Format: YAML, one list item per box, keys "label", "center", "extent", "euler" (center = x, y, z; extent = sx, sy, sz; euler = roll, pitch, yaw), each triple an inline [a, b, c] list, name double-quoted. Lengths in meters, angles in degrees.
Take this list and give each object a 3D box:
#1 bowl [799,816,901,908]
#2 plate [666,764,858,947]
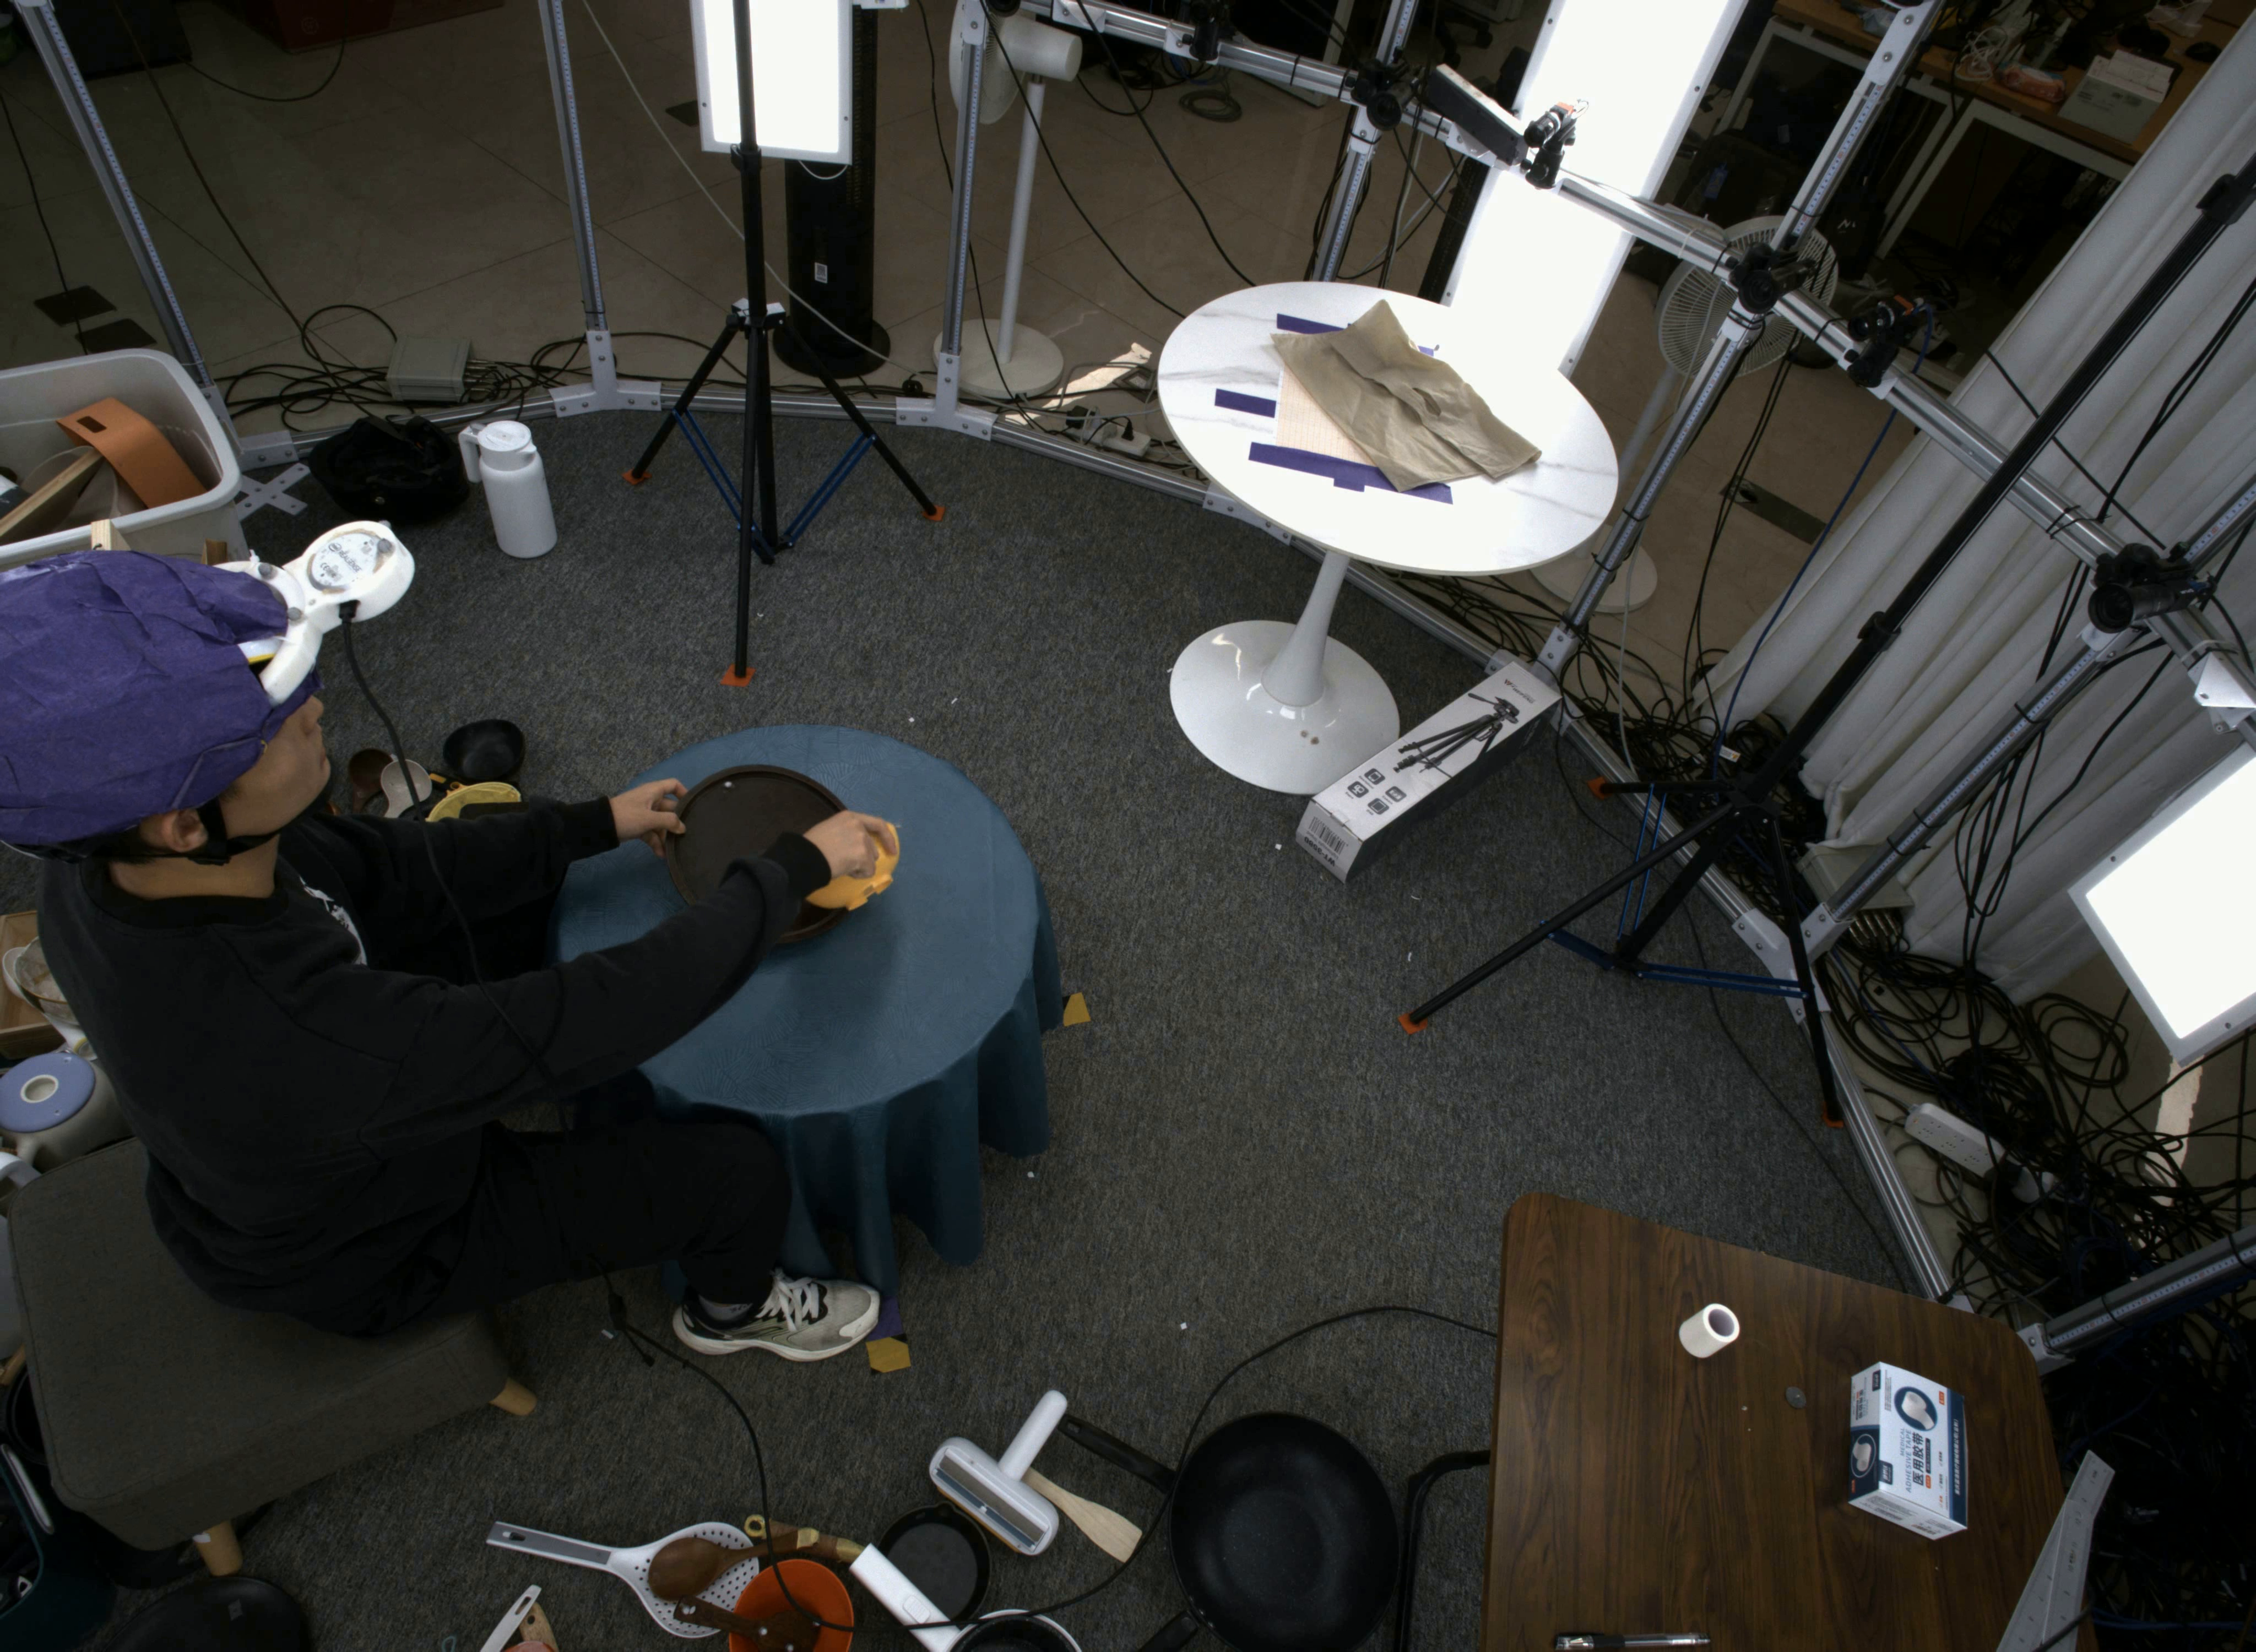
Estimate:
- label: "bowl"
  center: [-0.328, 0.055, 1.589]
  extent: [0.145, 0.145, 0.060]
  euler: [-38, 87, -34]
- label: "plate"
  center: [-0.457, 0.035, 1.639]
  extent: [0.259, 0.029, 0.251]
  euler: [15, 59, -24]
